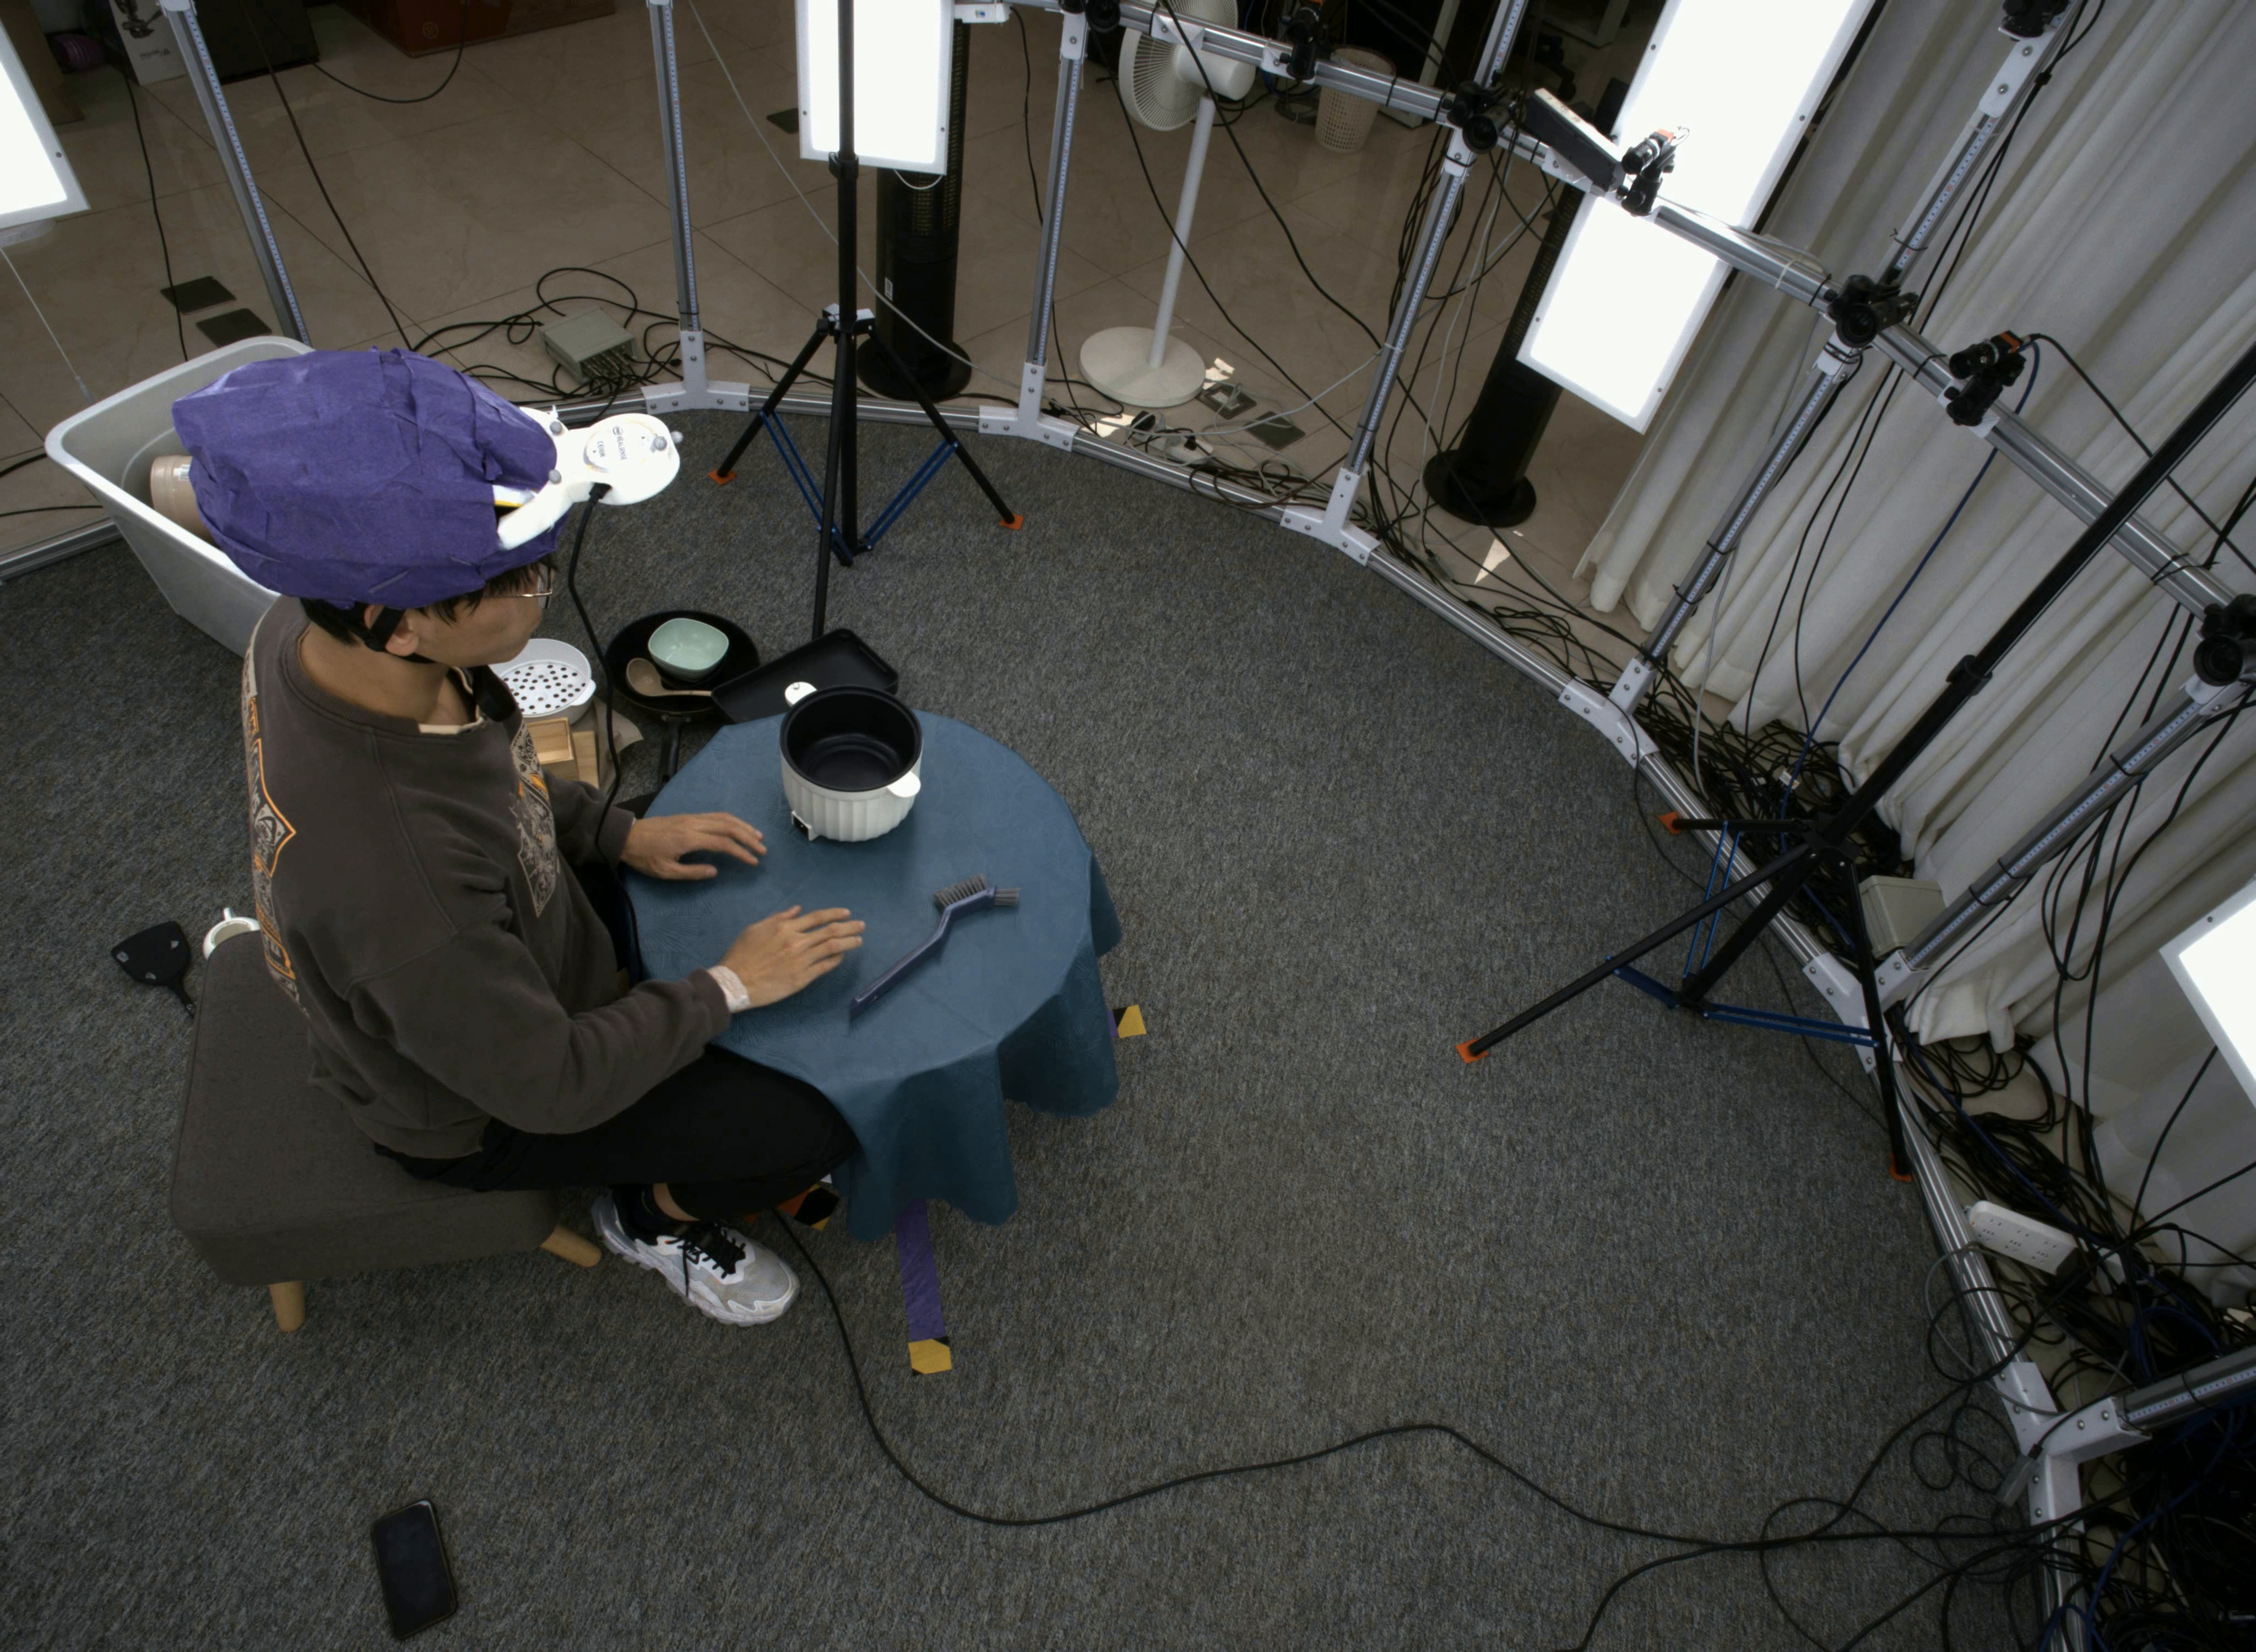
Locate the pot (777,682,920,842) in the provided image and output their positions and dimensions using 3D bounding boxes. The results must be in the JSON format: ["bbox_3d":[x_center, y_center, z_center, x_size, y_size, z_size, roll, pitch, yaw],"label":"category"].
[{"bbox_3d":[-0.364,-0.081,1.722,0.235,0.145,0.190,40,59,15],"label":"pot"}]

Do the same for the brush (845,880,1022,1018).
[{"bbox_3d":[-0.247,0.156,1.647,0.094,0.034,0.272,33,52,11],"label":"brush"}]
